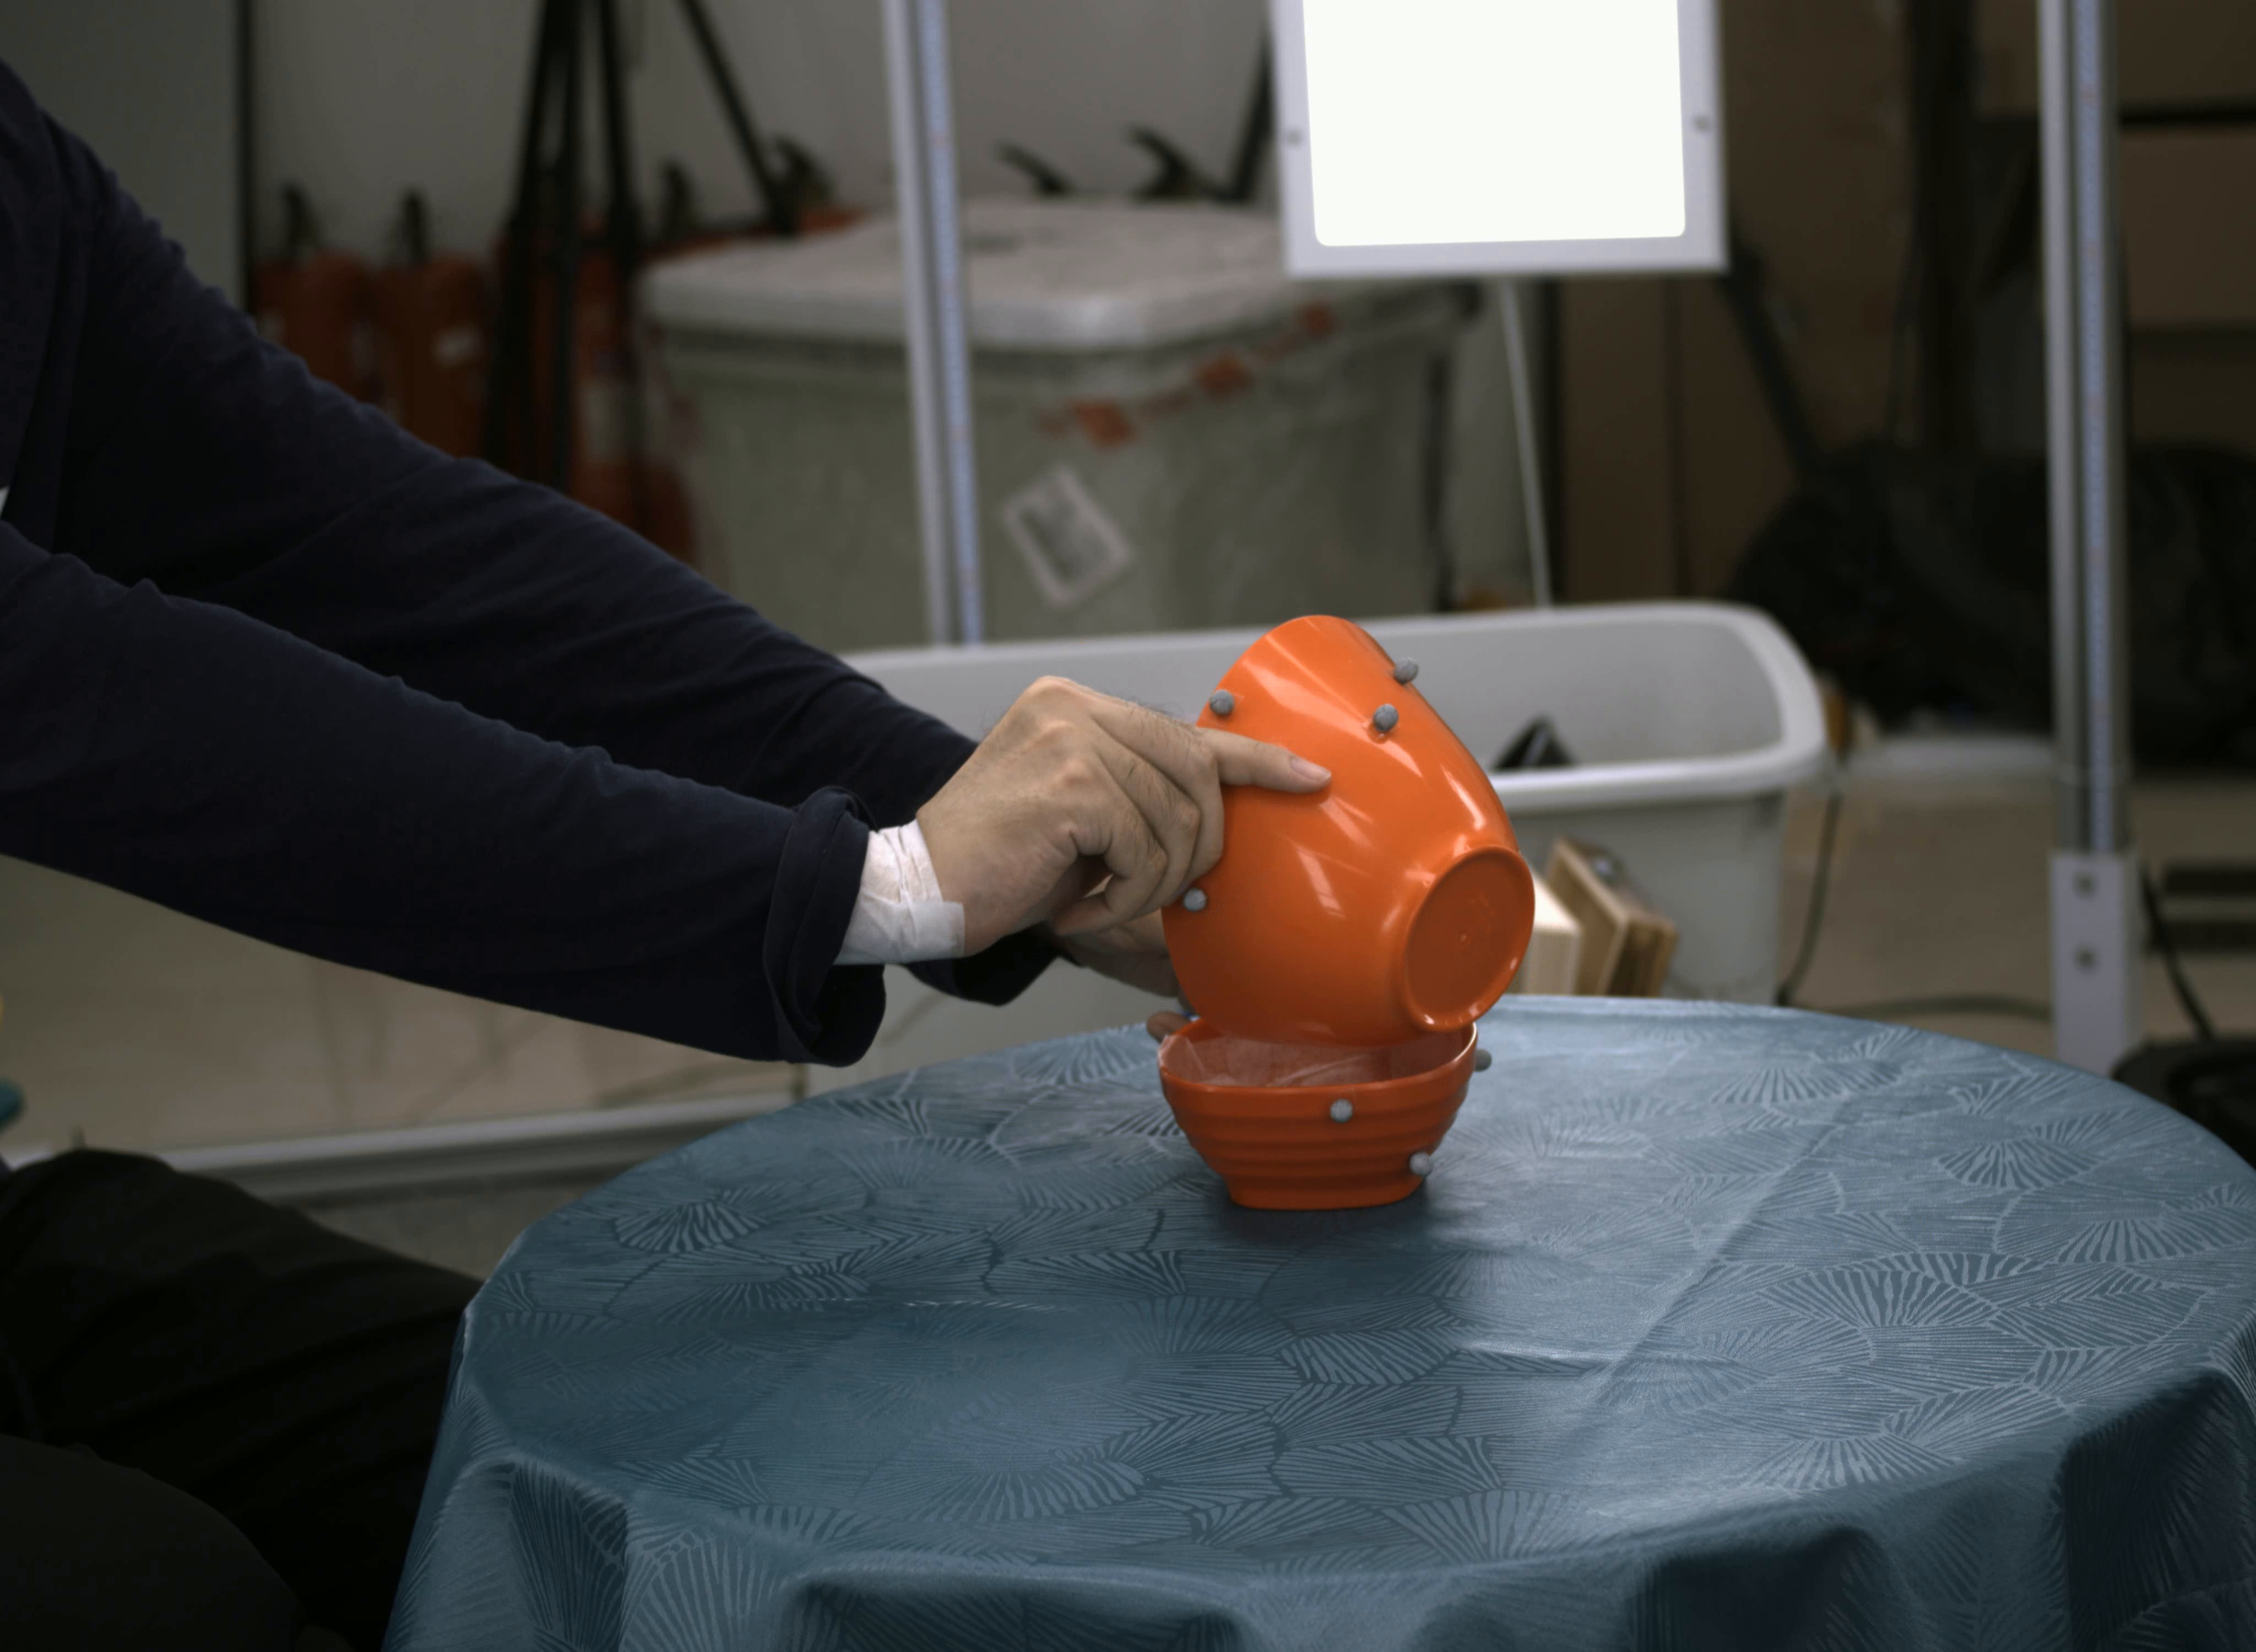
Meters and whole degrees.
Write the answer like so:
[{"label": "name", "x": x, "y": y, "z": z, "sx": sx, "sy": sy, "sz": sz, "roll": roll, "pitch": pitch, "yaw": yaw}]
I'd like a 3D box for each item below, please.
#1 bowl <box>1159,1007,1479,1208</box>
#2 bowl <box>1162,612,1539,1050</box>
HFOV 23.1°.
[{"label": "bowl", "x": 0.067, "y": 0.096, "z": 1.890, "sx": 0.118, "sy": 0.051, "sz": 0.119, "roll": -4, "pitch": 16, "yaw": 0}, {"label": "bowl", "x": 0.086, "y": 0.012, "z": 1.858, "sx": 0.144, "sy": 0.149, "sz": 0.106, "roll": -17, "pitch": 30, "yaw": -41}]
